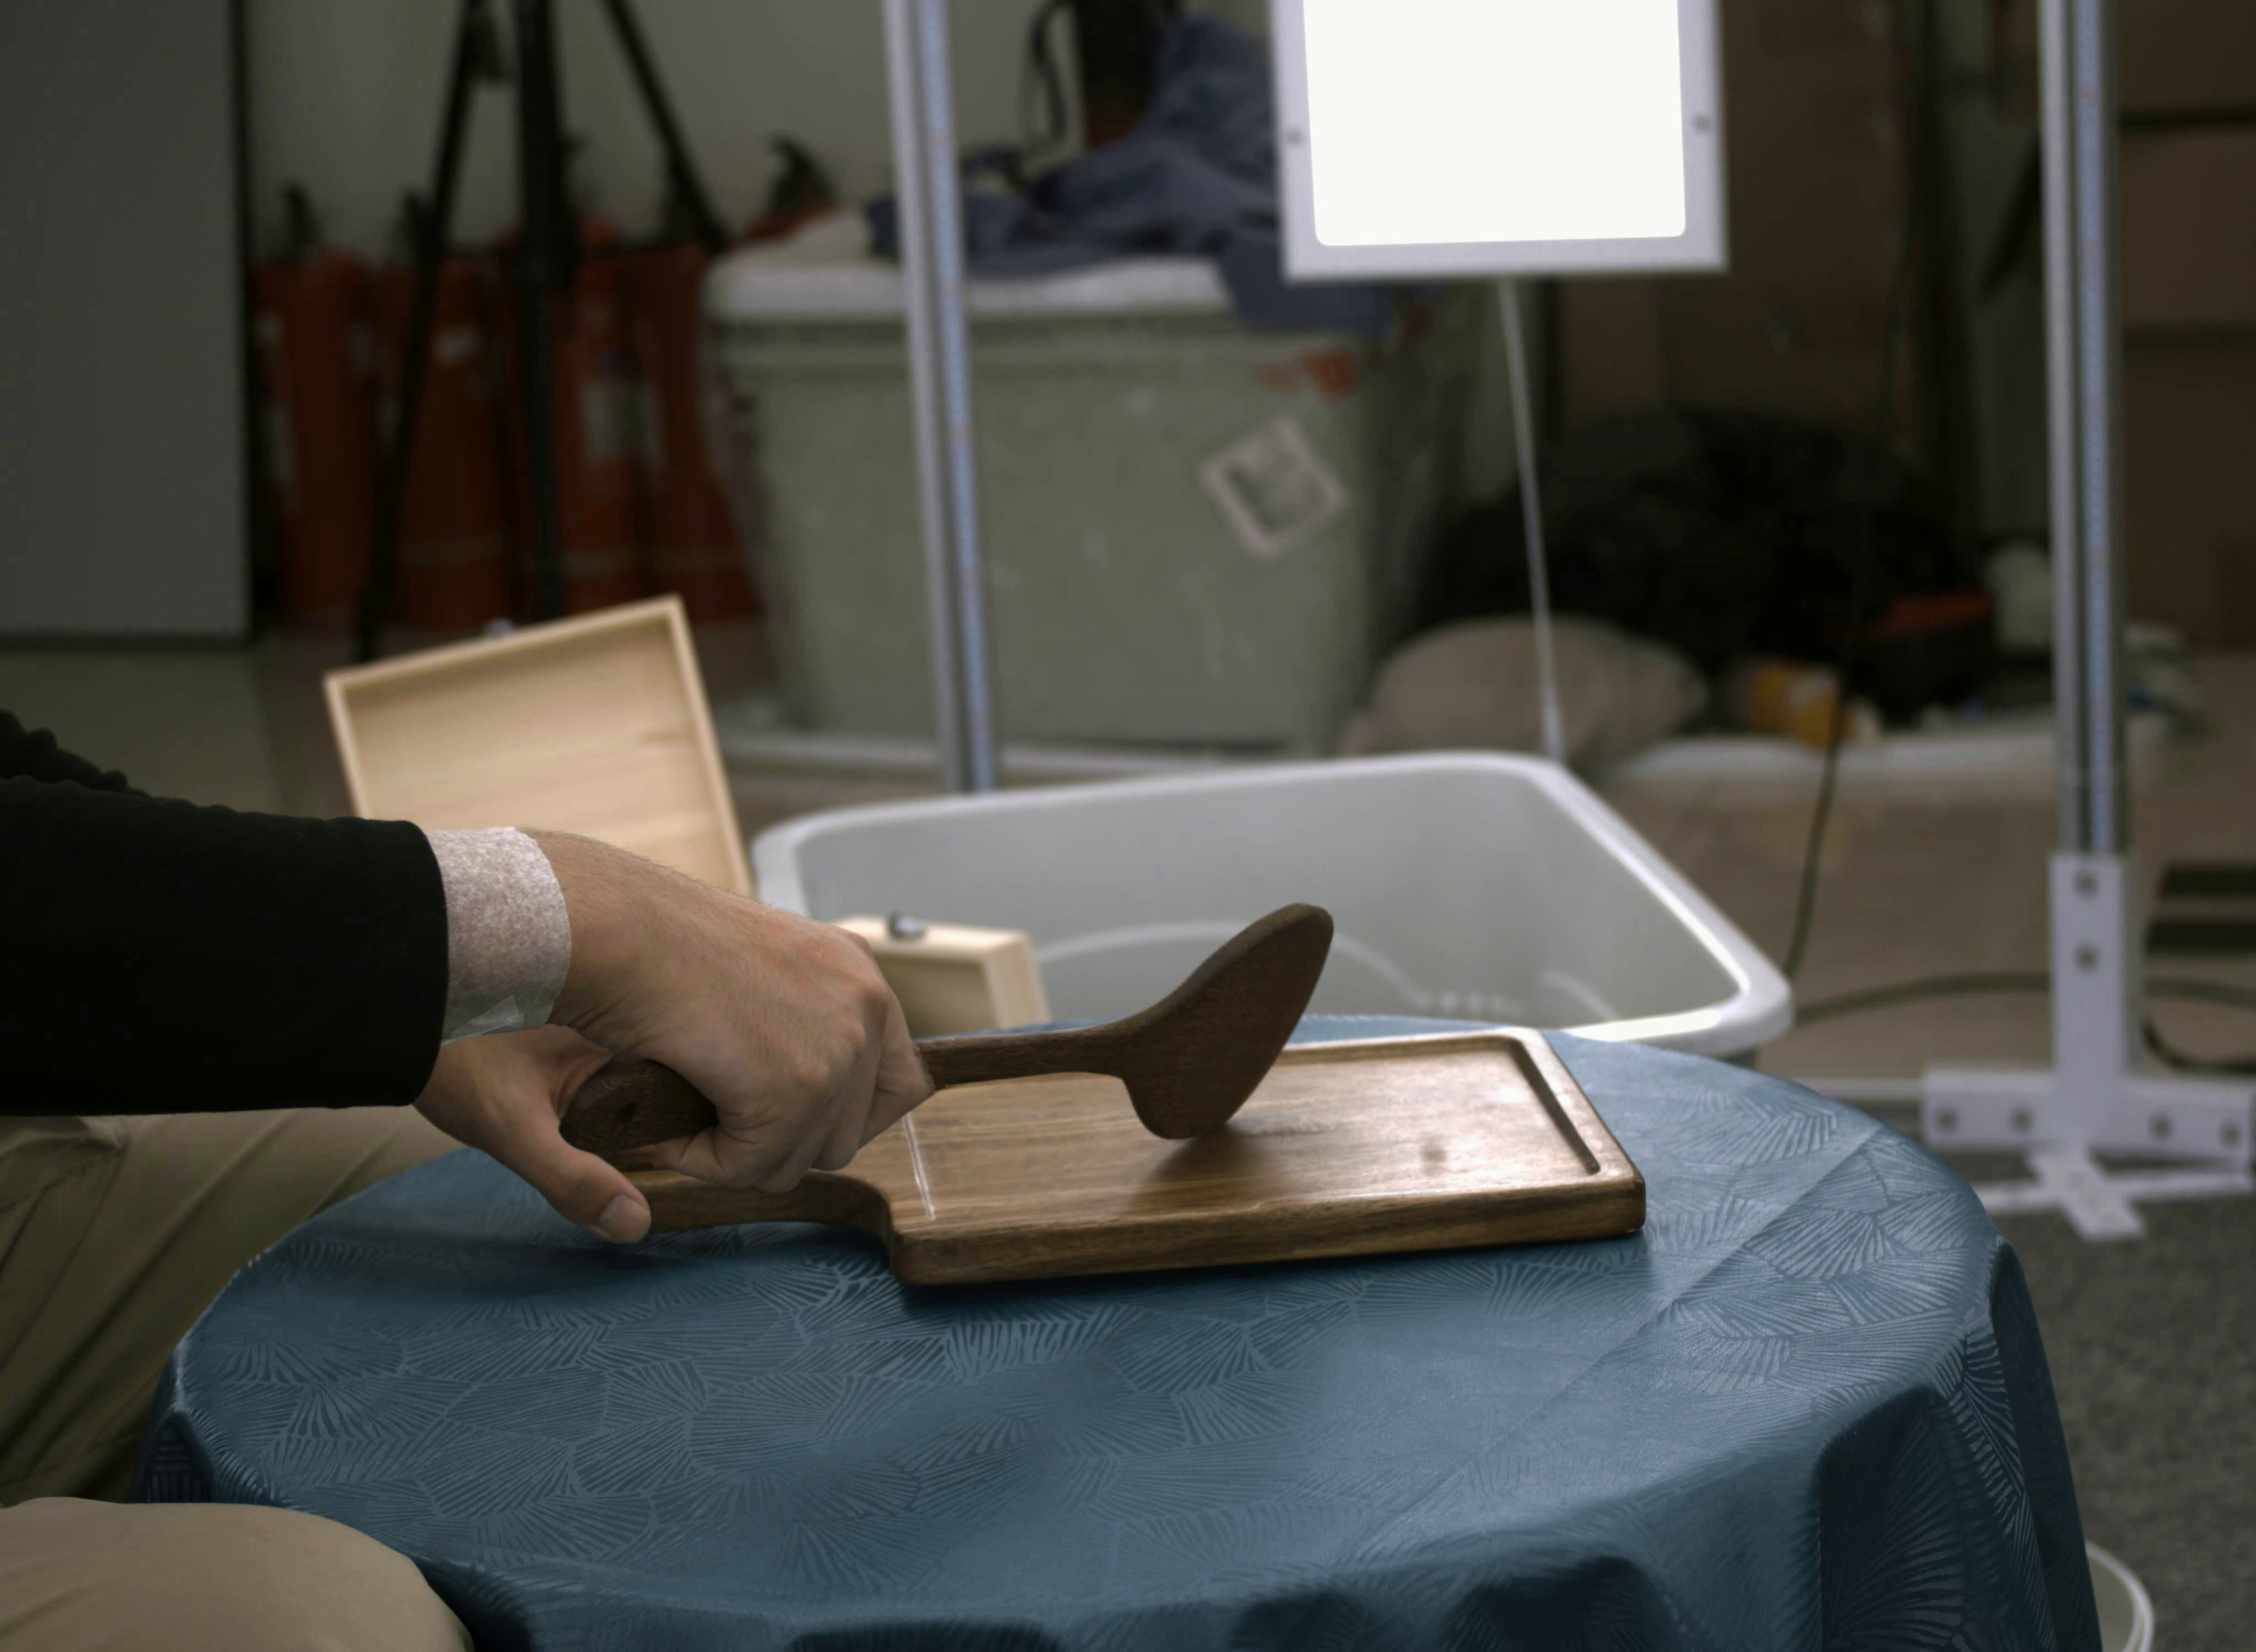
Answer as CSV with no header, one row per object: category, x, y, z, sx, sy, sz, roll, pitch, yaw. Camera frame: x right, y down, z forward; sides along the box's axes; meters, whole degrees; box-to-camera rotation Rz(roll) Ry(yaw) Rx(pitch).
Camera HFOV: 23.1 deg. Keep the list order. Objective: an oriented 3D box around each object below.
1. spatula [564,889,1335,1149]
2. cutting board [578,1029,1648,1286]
spatula,-0.050,0.072,1.748,0.016,0.097,0.376,38,24,30
cutting board,-0.012,0.114,1.885,0.350,0.023,0.201,-4,13,-4
